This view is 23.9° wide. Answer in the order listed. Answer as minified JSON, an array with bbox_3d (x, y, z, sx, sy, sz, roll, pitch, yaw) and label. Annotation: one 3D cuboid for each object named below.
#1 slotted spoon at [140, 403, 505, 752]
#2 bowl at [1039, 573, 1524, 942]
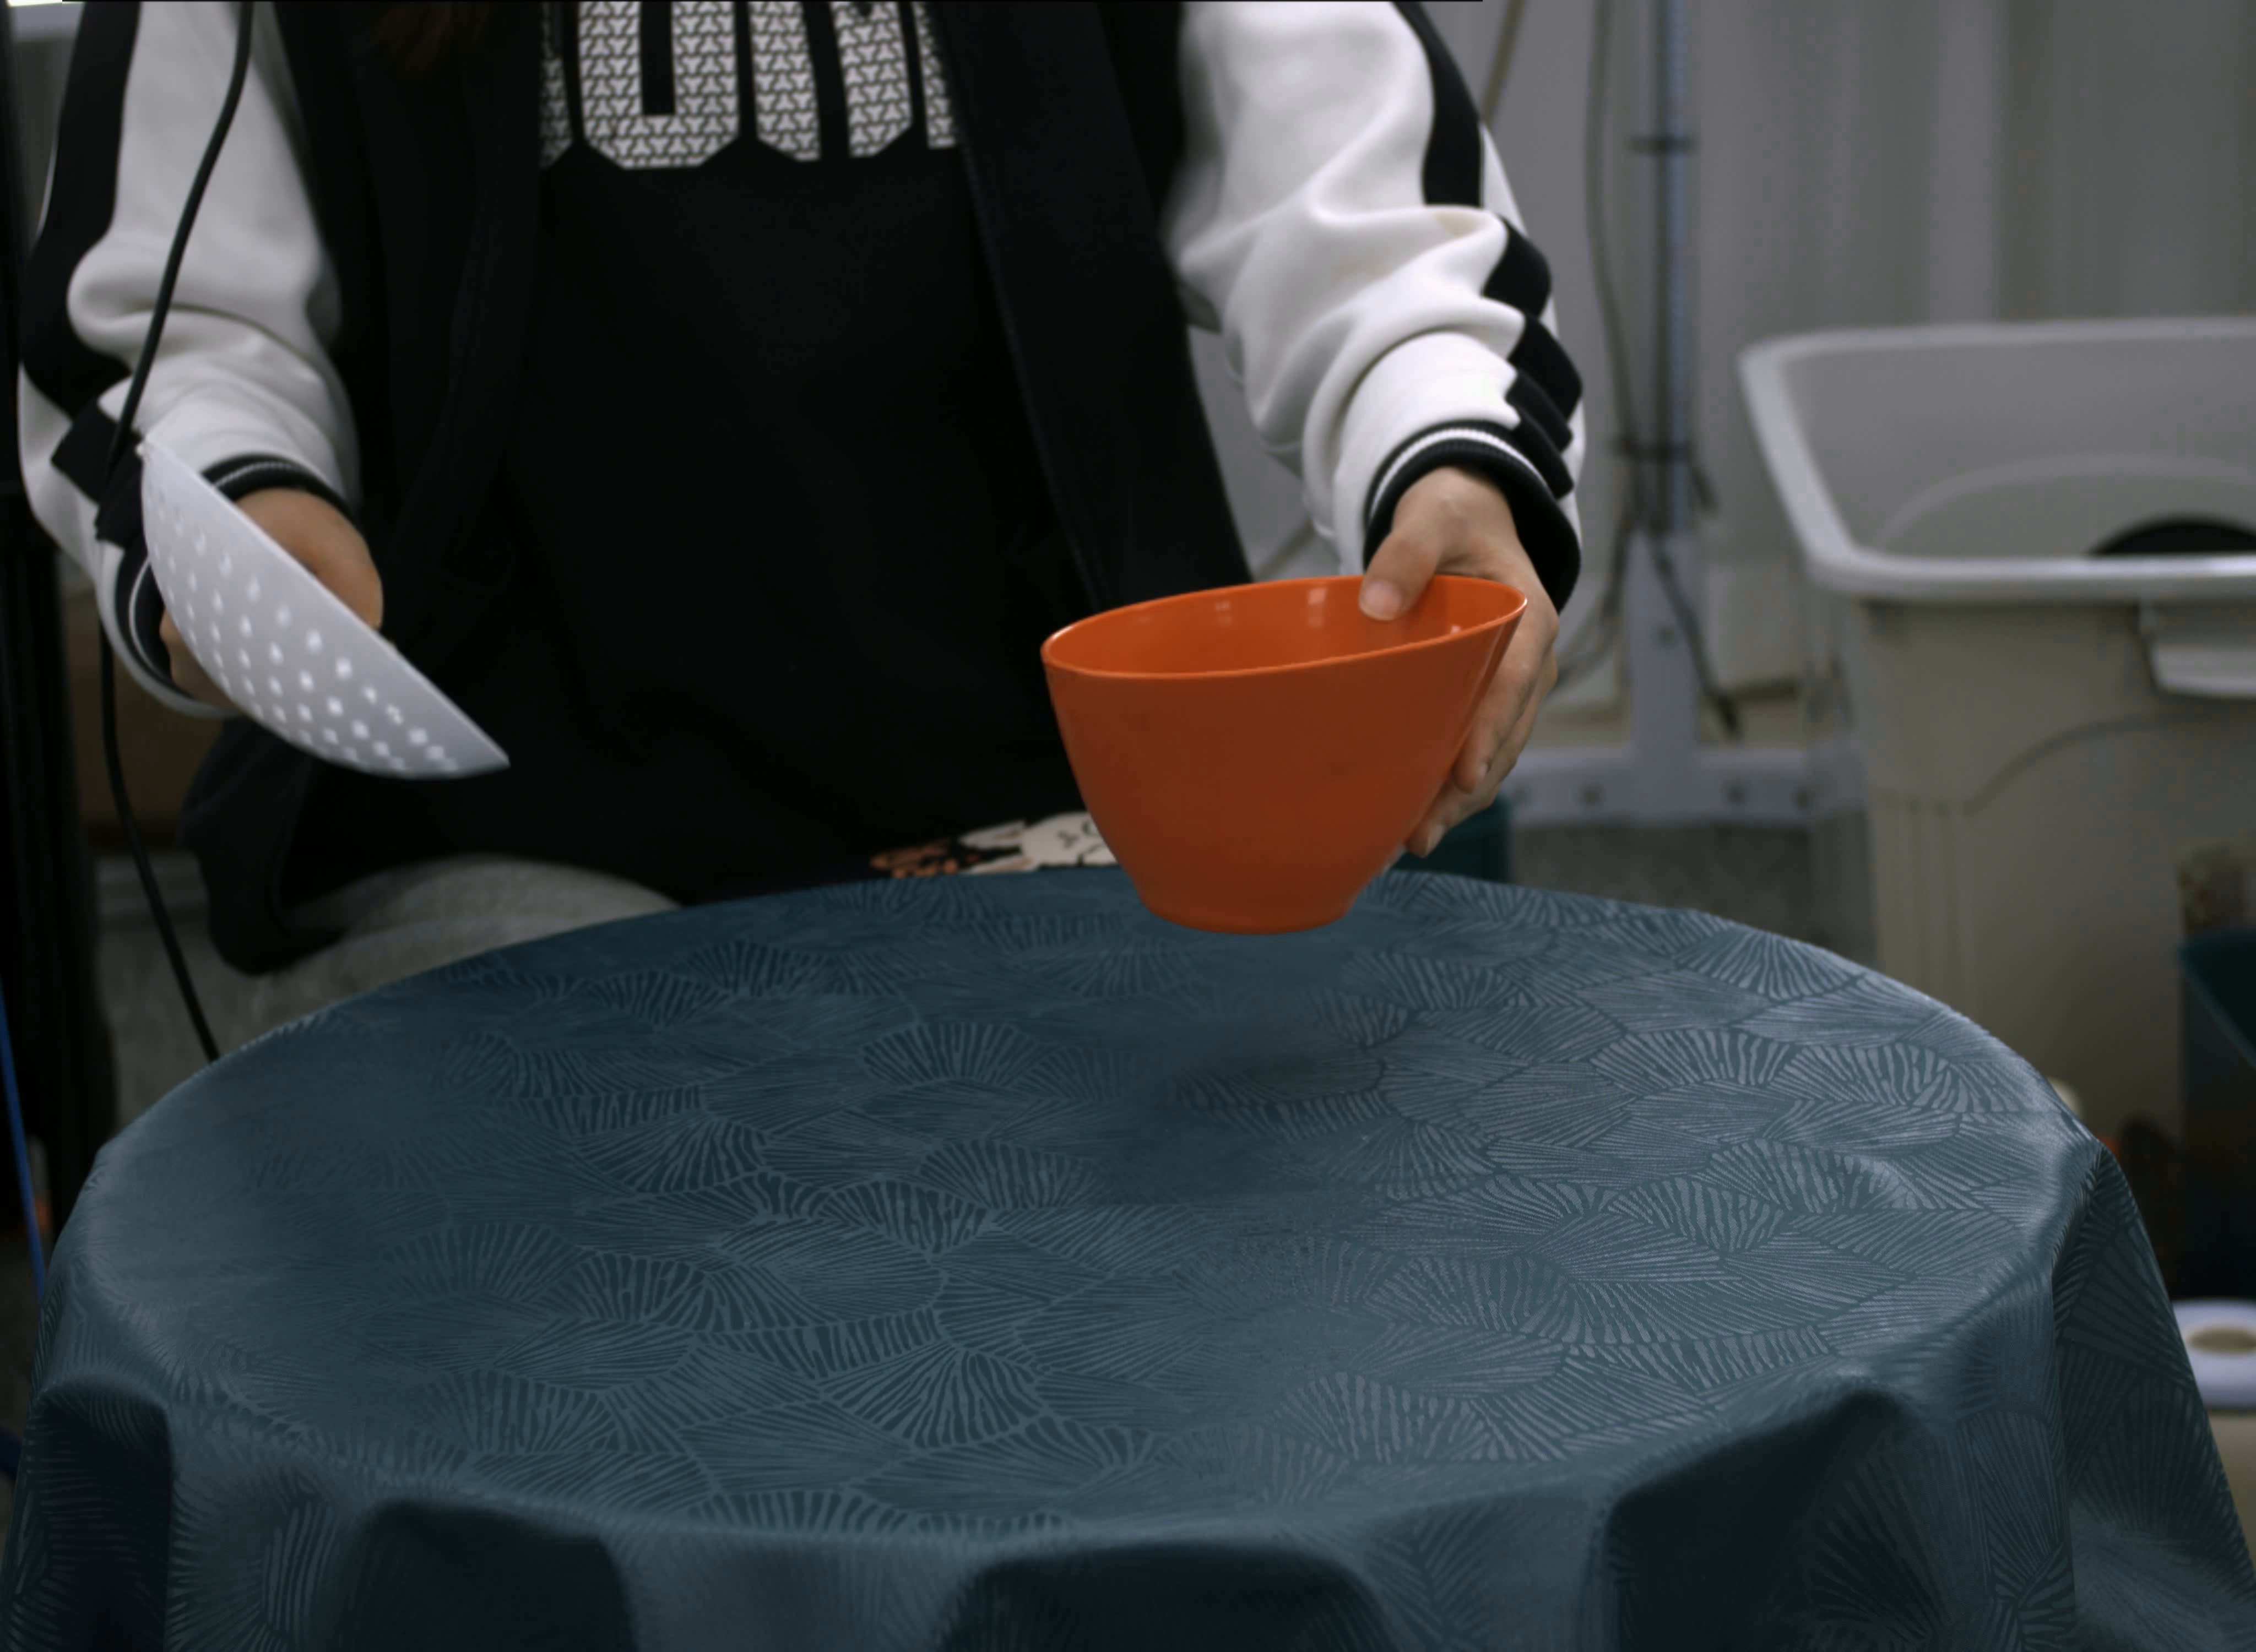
[{"bbox_3d":[-0.244,-0.066,1.619,0.046,0.135,0.351,-47,5,-1],"label":"slotted spoon"},{"bbox_3d":[0.046,-0.021,1.624,0.147,0.104,0.149,-1,18,-1],"label":"bowl"}]
